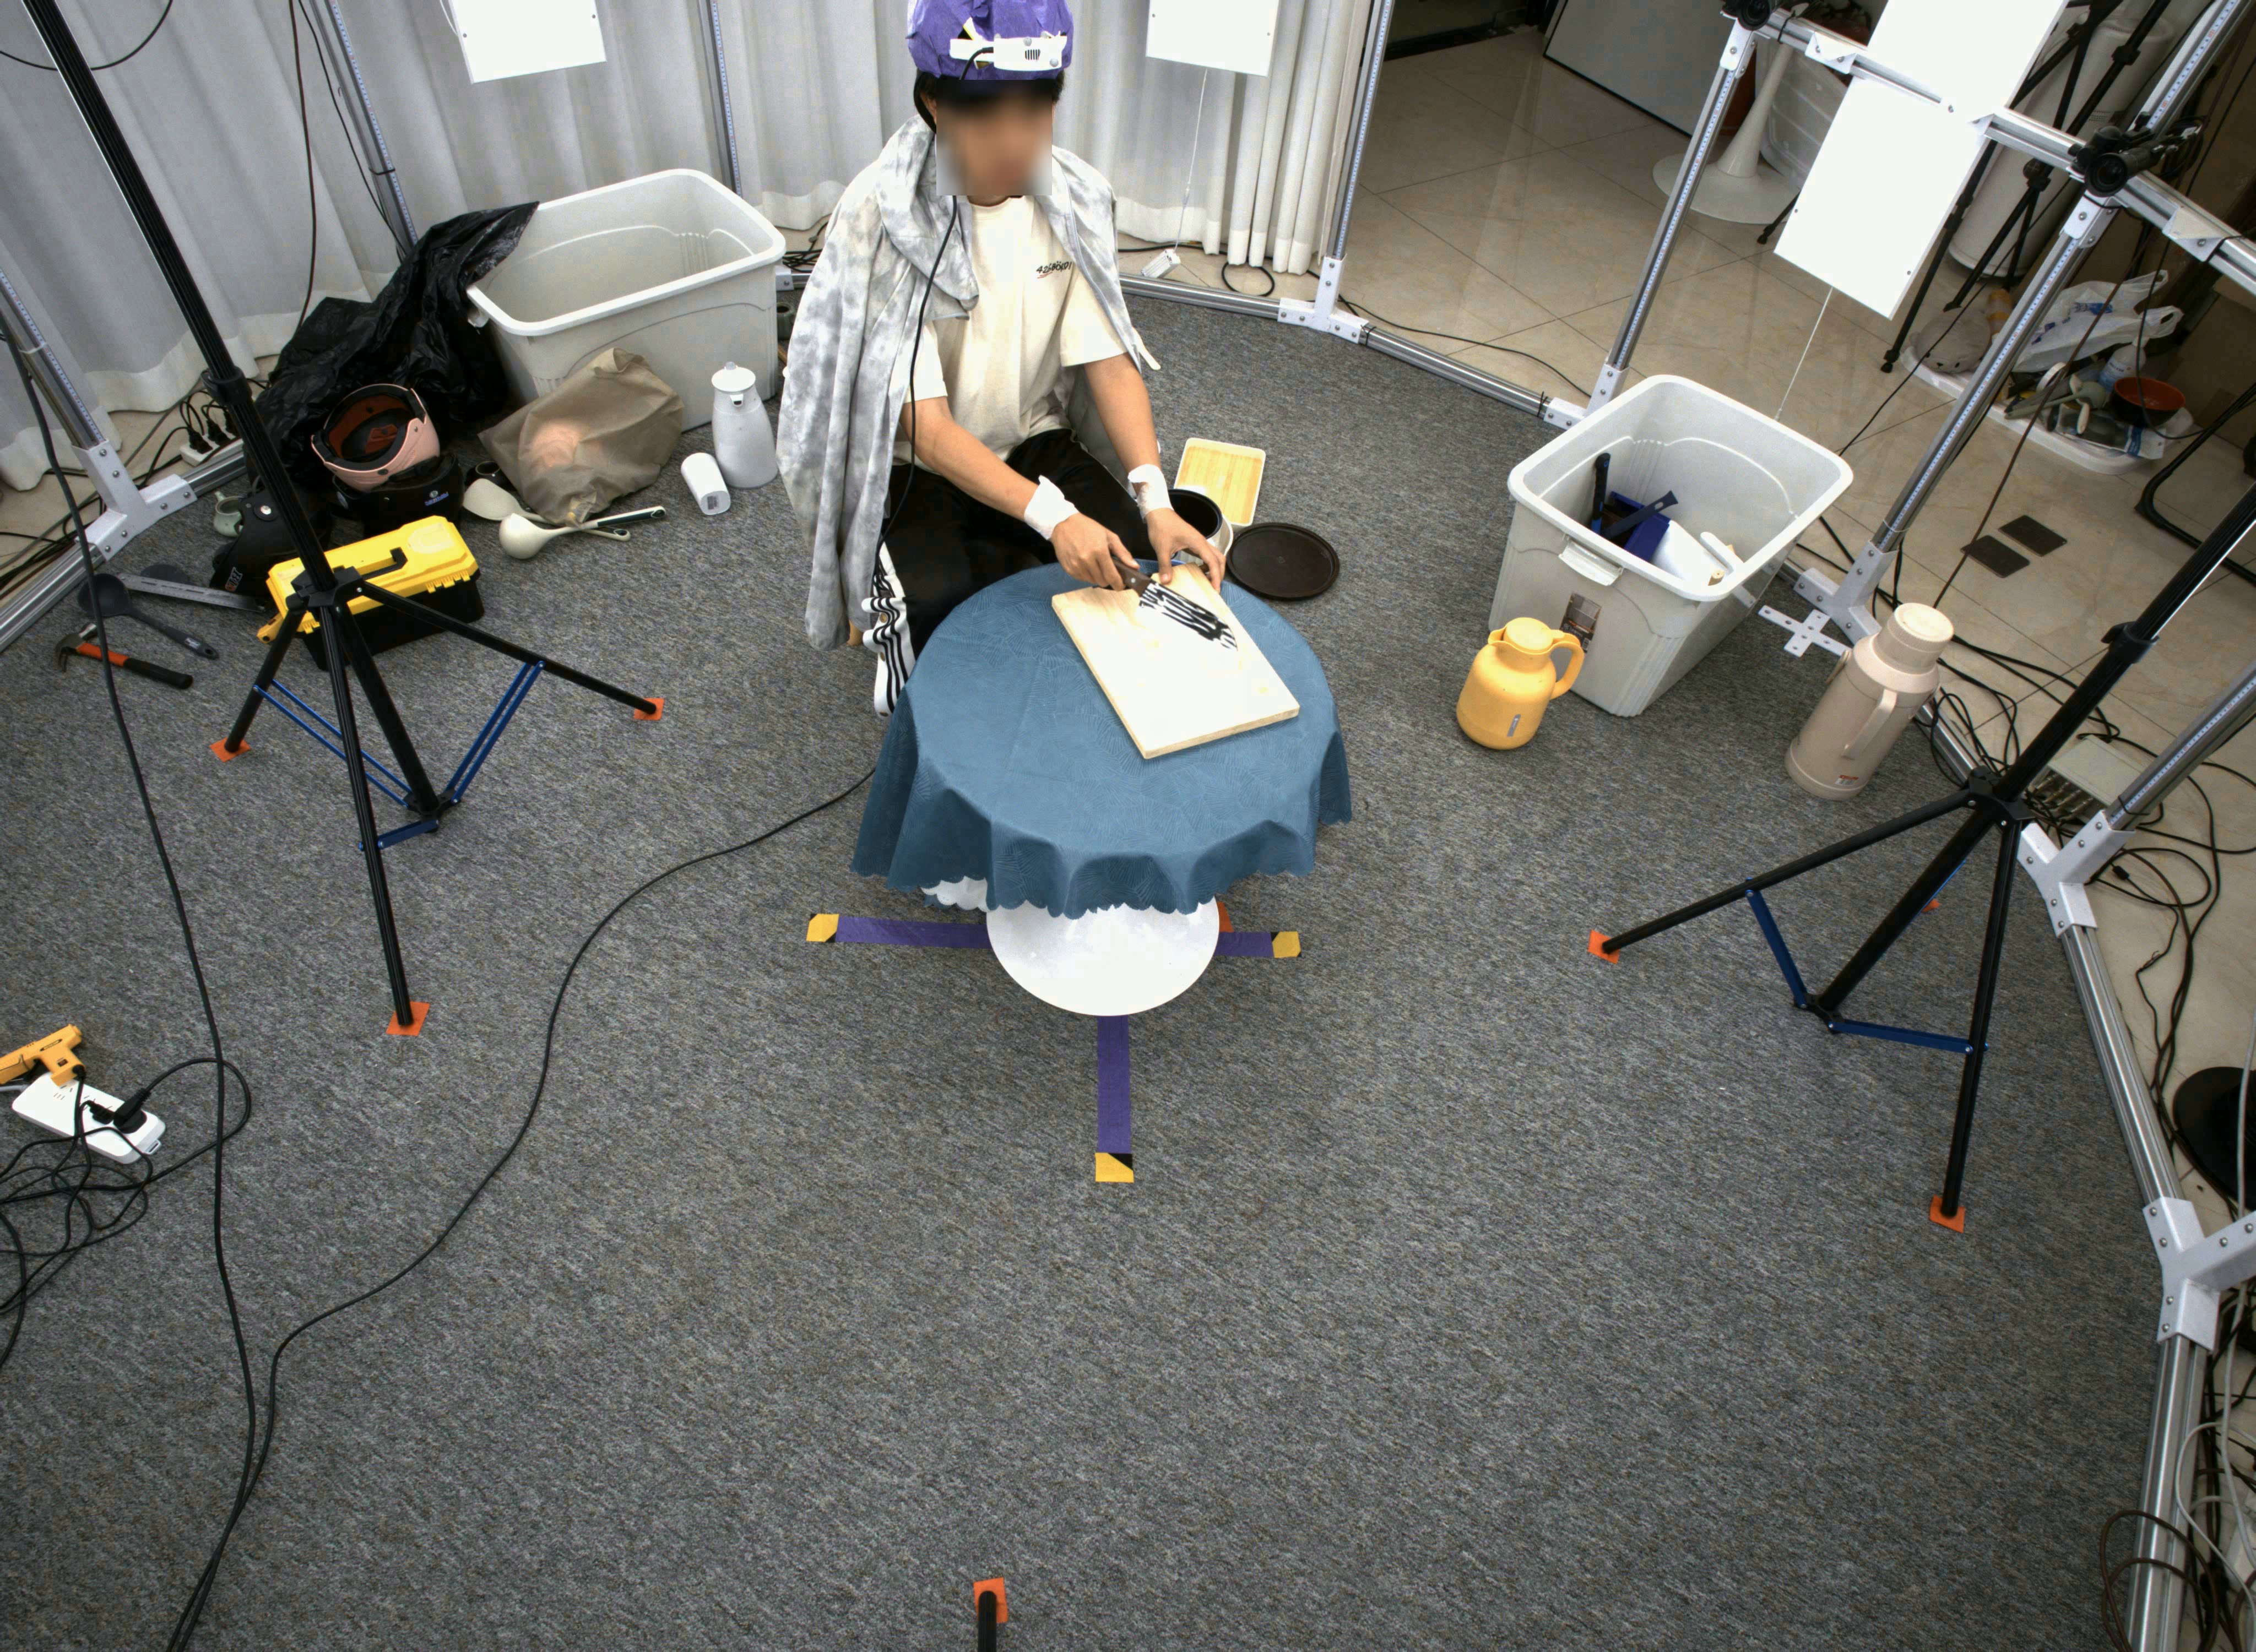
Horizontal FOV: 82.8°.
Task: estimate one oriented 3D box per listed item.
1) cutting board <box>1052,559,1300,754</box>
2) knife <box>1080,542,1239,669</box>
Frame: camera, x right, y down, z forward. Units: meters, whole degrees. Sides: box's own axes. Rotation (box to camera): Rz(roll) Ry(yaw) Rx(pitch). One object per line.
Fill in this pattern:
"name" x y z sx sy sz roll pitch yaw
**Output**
"cutting board" 0.063 -0.255 1.876 0.251 0.023 0.356 -17 52 -18
"knife" 0.044 -0.322 1.877 0.302 0.067 0.024 33 23 17
